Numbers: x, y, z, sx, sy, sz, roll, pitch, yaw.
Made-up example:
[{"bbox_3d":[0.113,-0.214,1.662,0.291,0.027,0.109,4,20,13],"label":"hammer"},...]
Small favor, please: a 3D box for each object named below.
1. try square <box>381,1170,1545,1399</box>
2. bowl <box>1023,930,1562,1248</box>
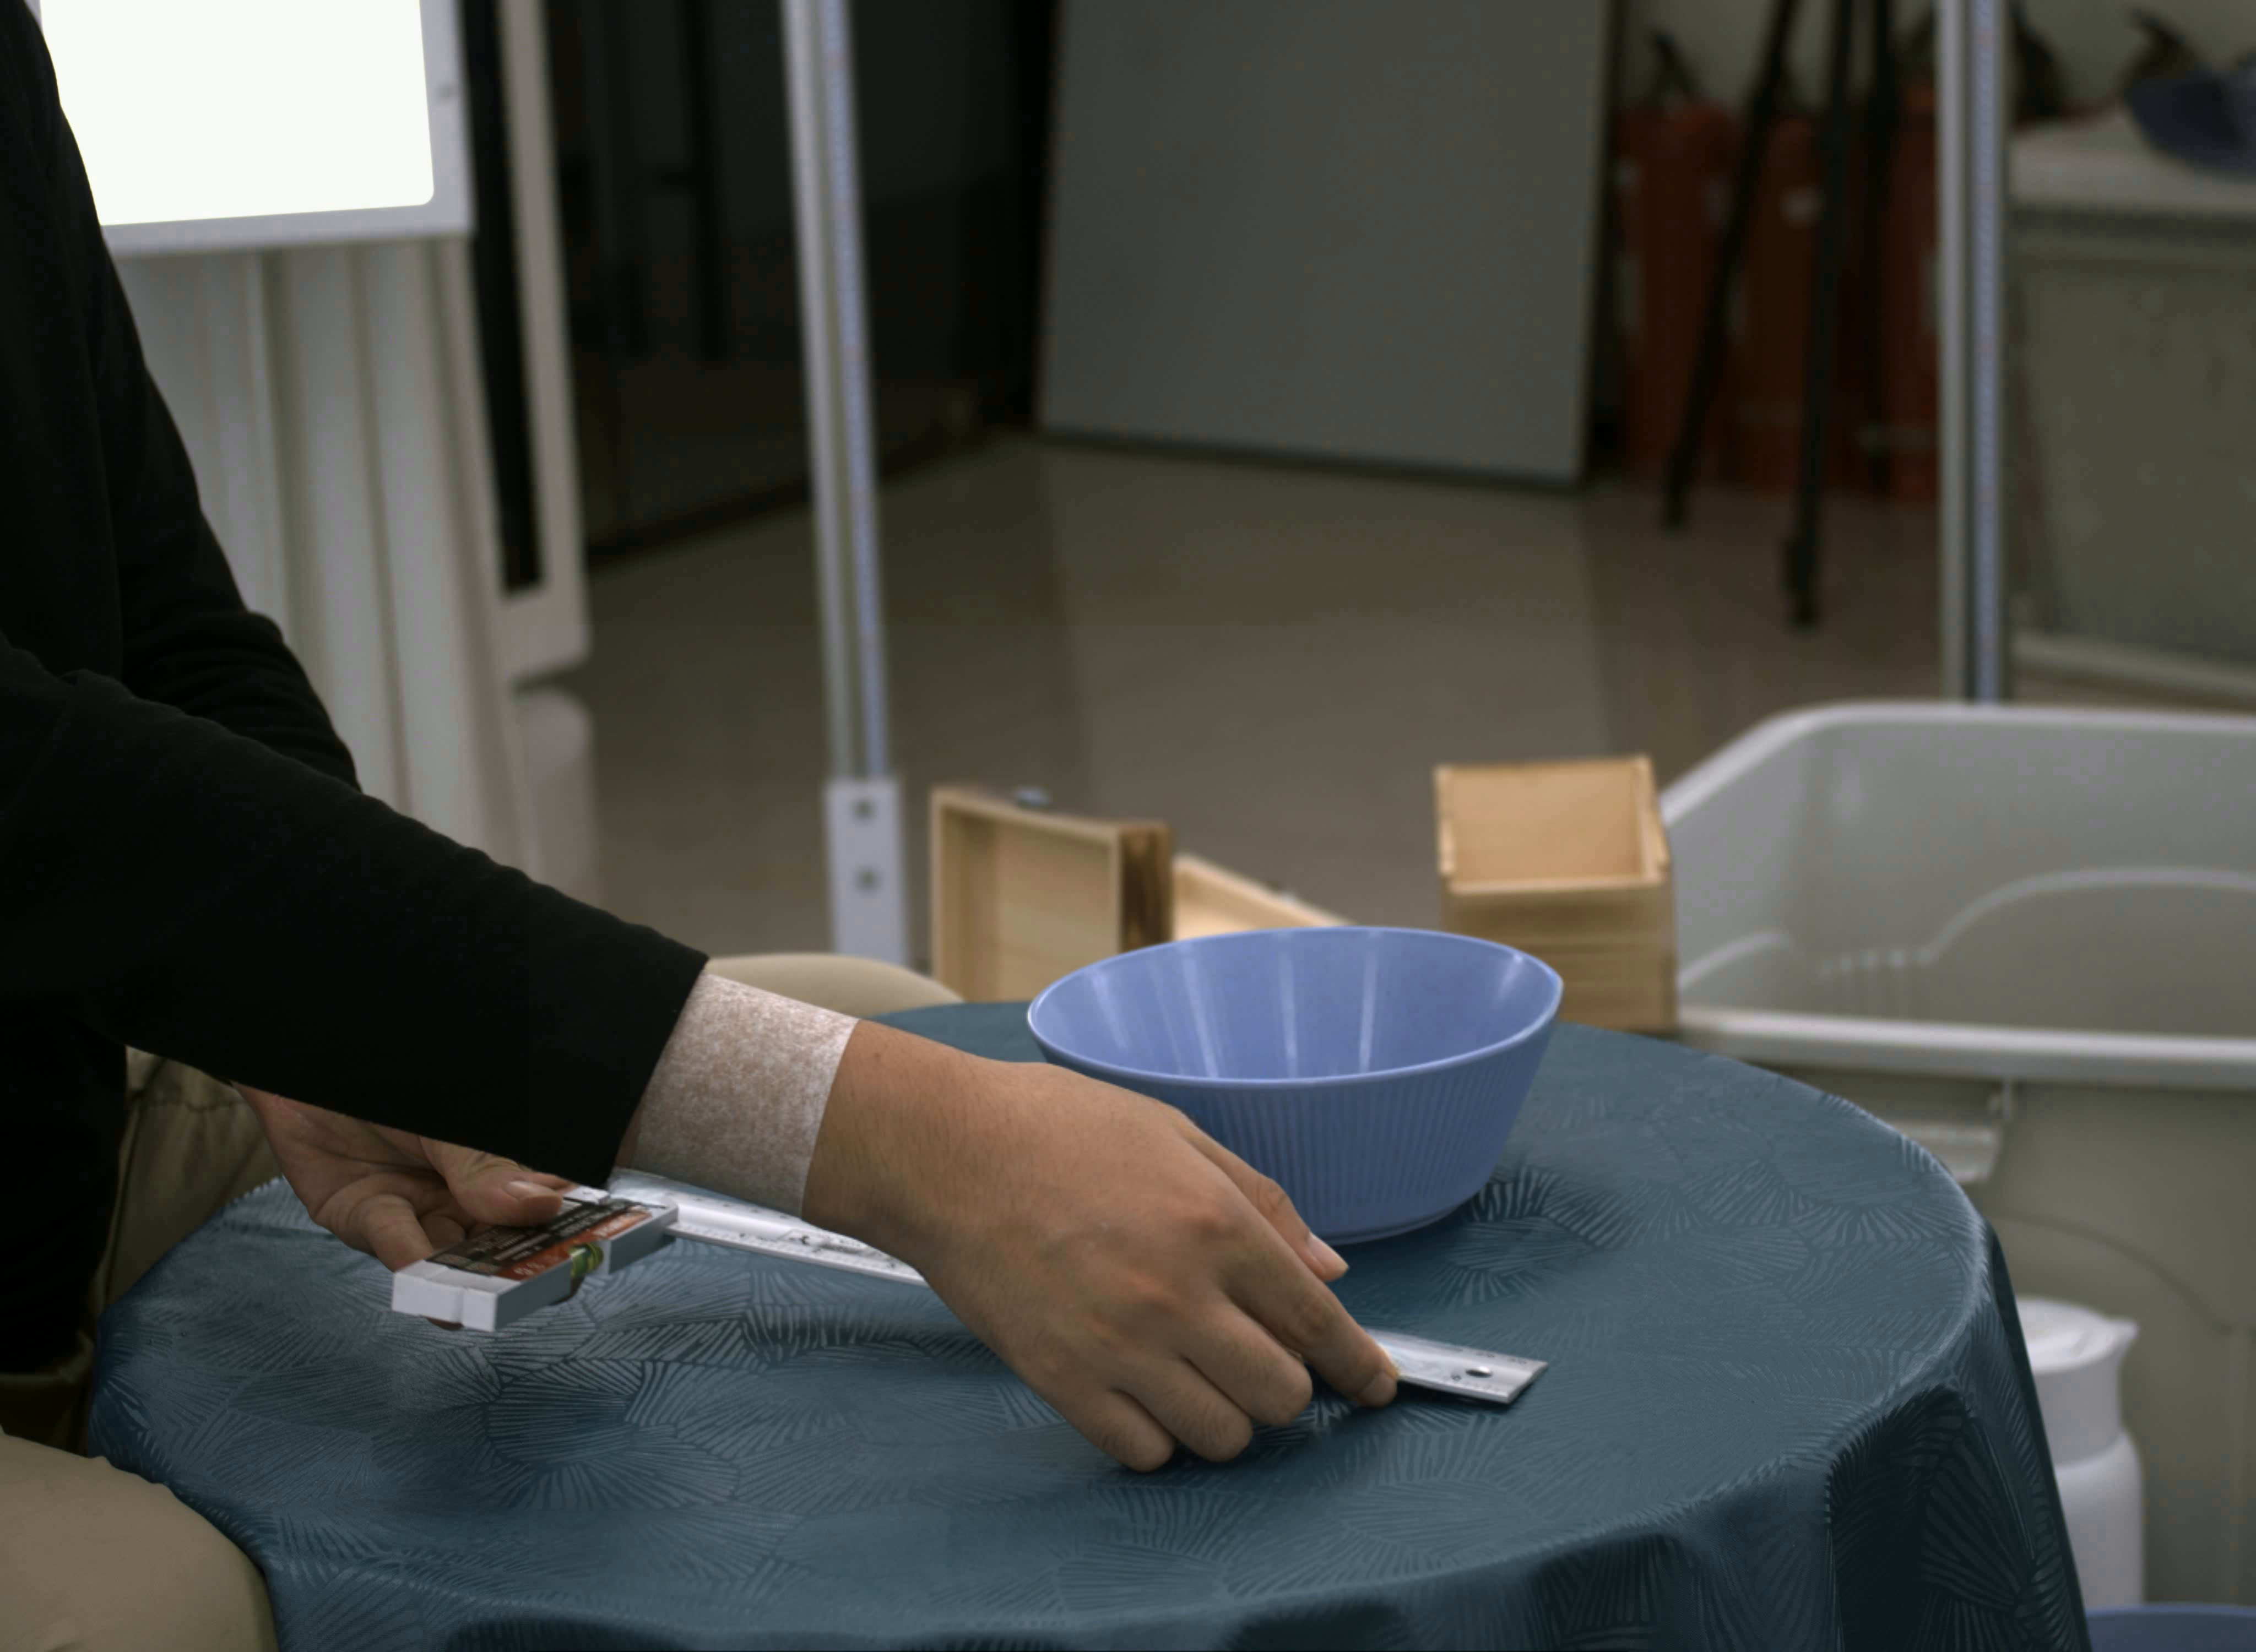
[{"bbox_3d":[-0.047,0.148,1.574,0.313,0.016,0.150,9,15,22],"label":"try square"},{"bbox_3d":[0.055,0.087,1.745,0.174,0.071,0.176,-4,14,0],"label":"bowl"}]
